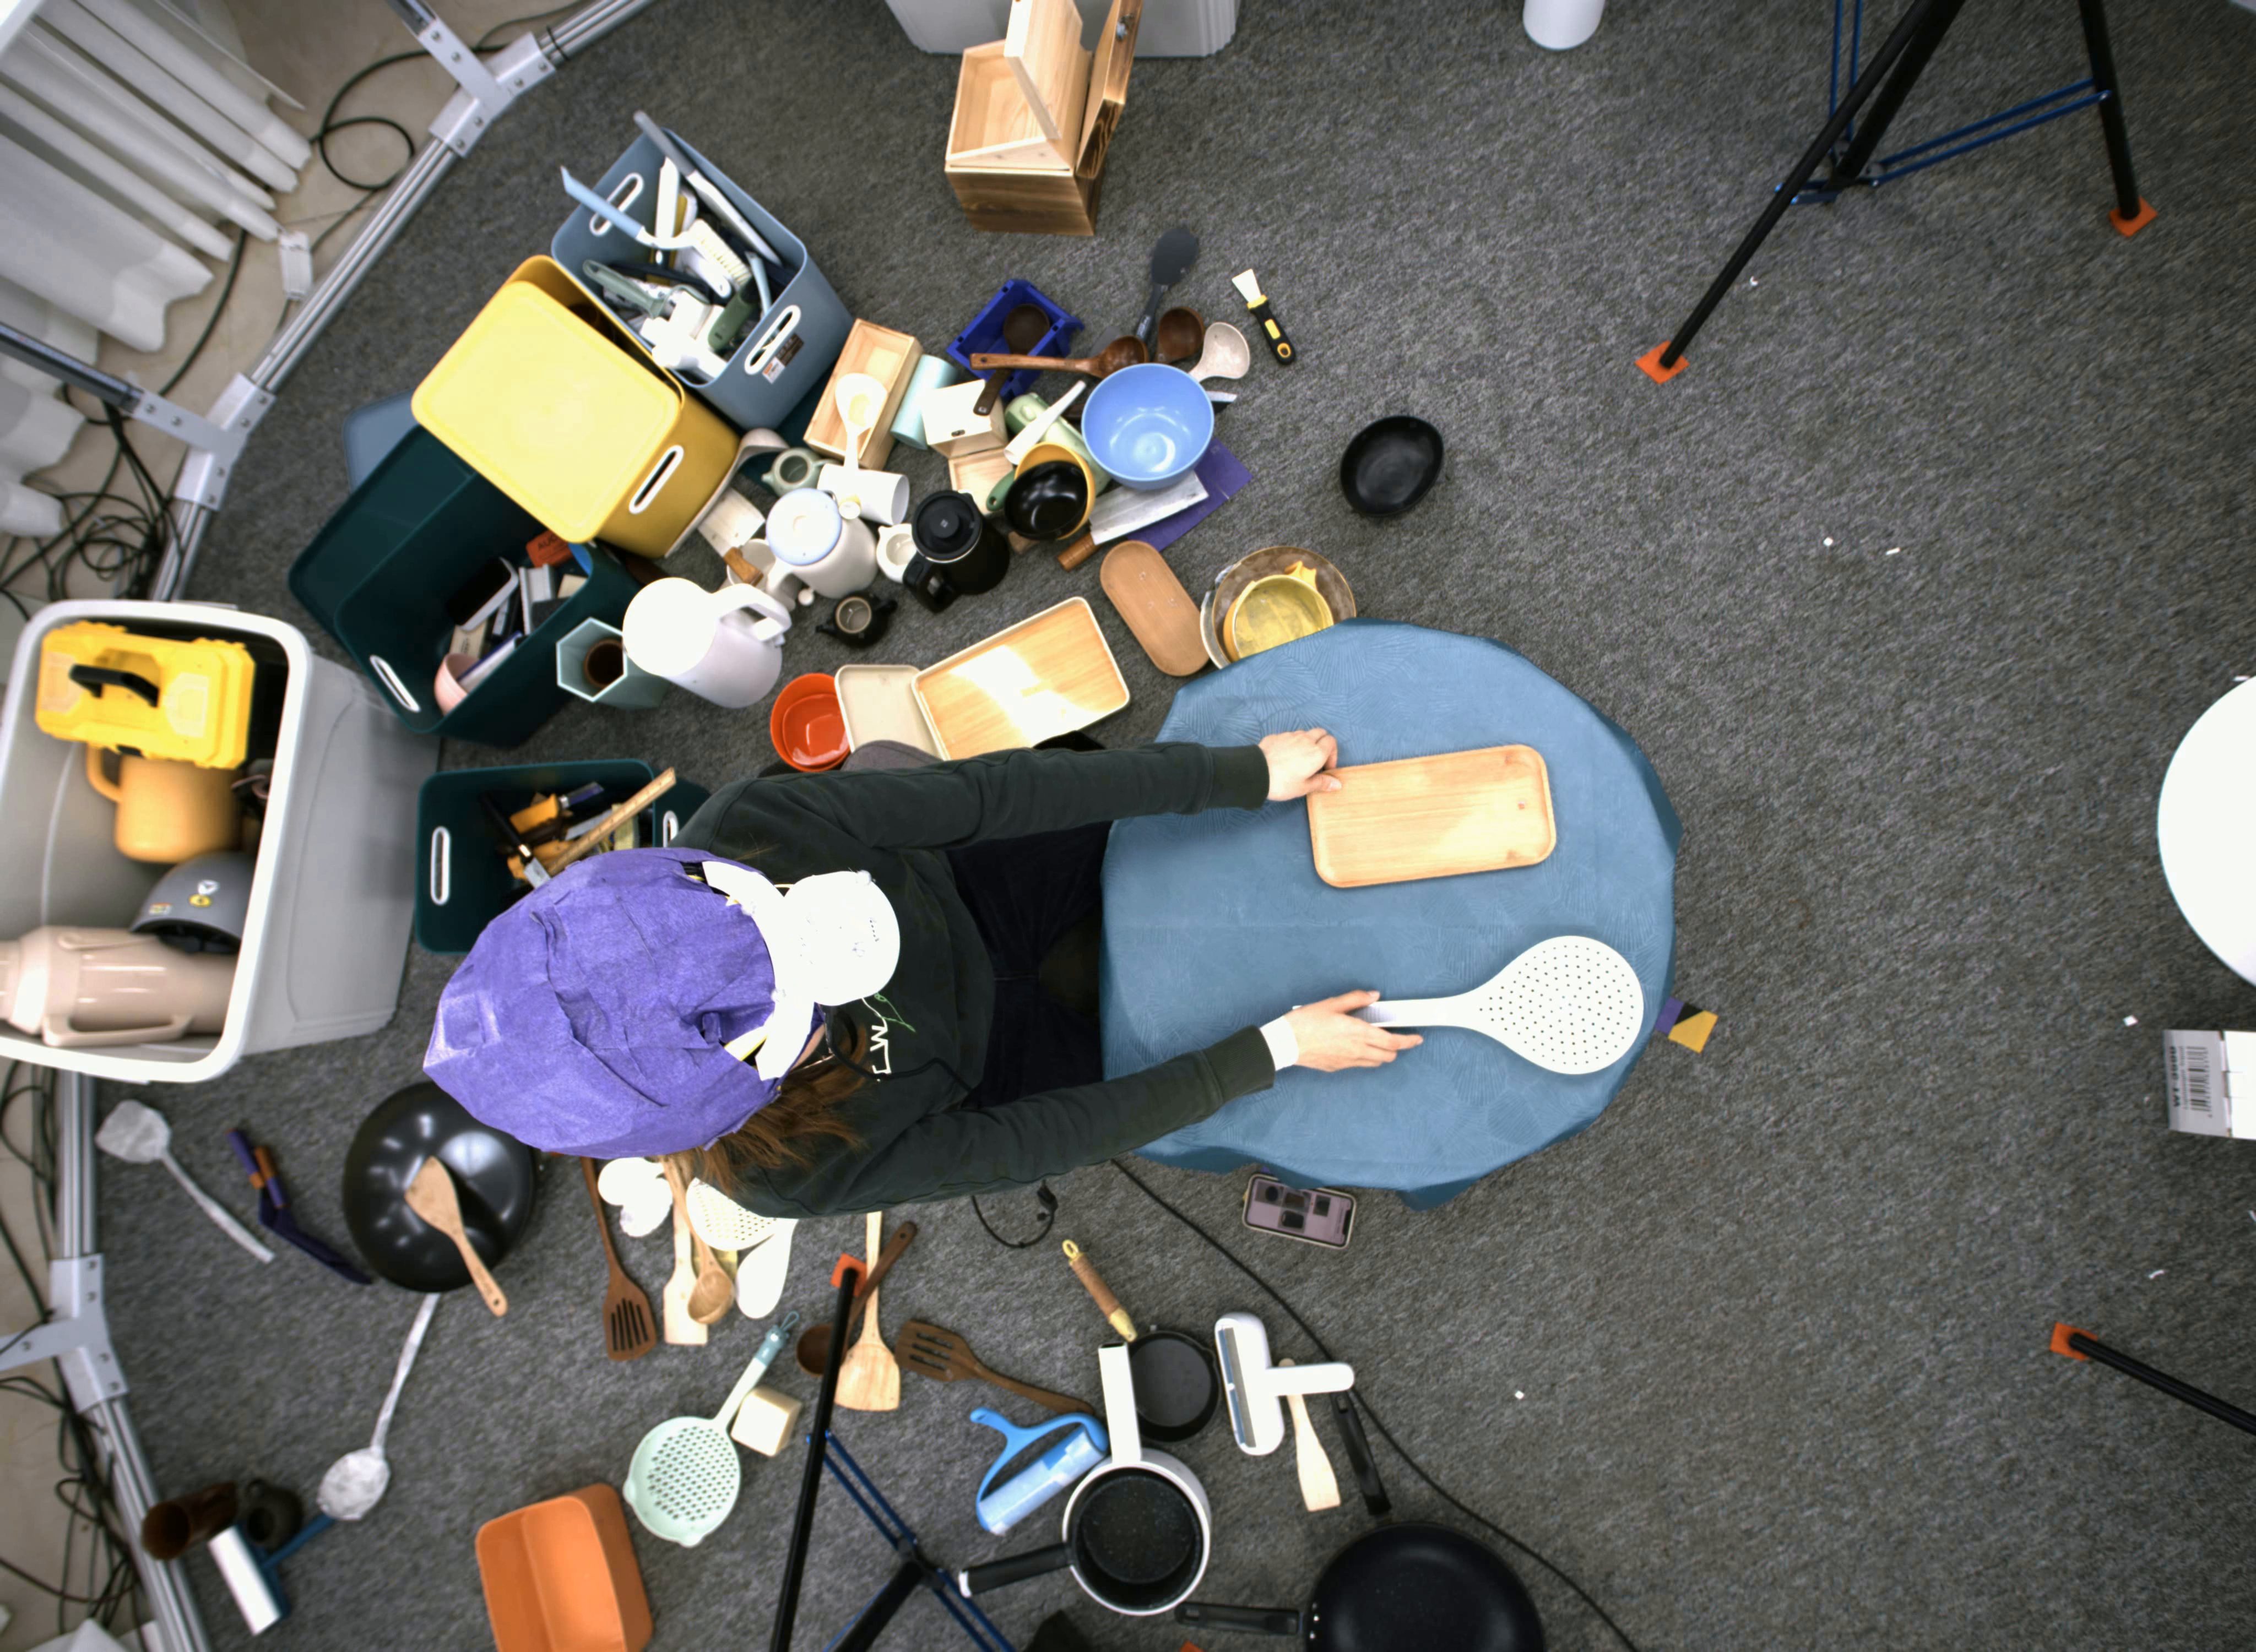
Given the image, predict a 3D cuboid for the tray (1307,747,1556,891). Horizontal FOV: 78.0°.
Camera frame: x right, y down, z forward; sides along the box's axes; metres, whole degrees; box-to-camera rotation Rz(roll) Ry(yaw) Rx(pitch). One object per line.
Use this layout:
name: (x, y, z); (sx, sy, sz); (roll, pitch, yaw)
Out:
tray: (0.318, -0.008, 1.453); (0.252, 0.023, 0.129); (-7, 83, 11)

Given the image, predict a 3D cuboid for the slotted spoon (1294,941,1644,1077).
slotted spoon: (0.346, 0.190, 1.420); (0.351, 0.046, 0.135); (-4, 83, 11)
